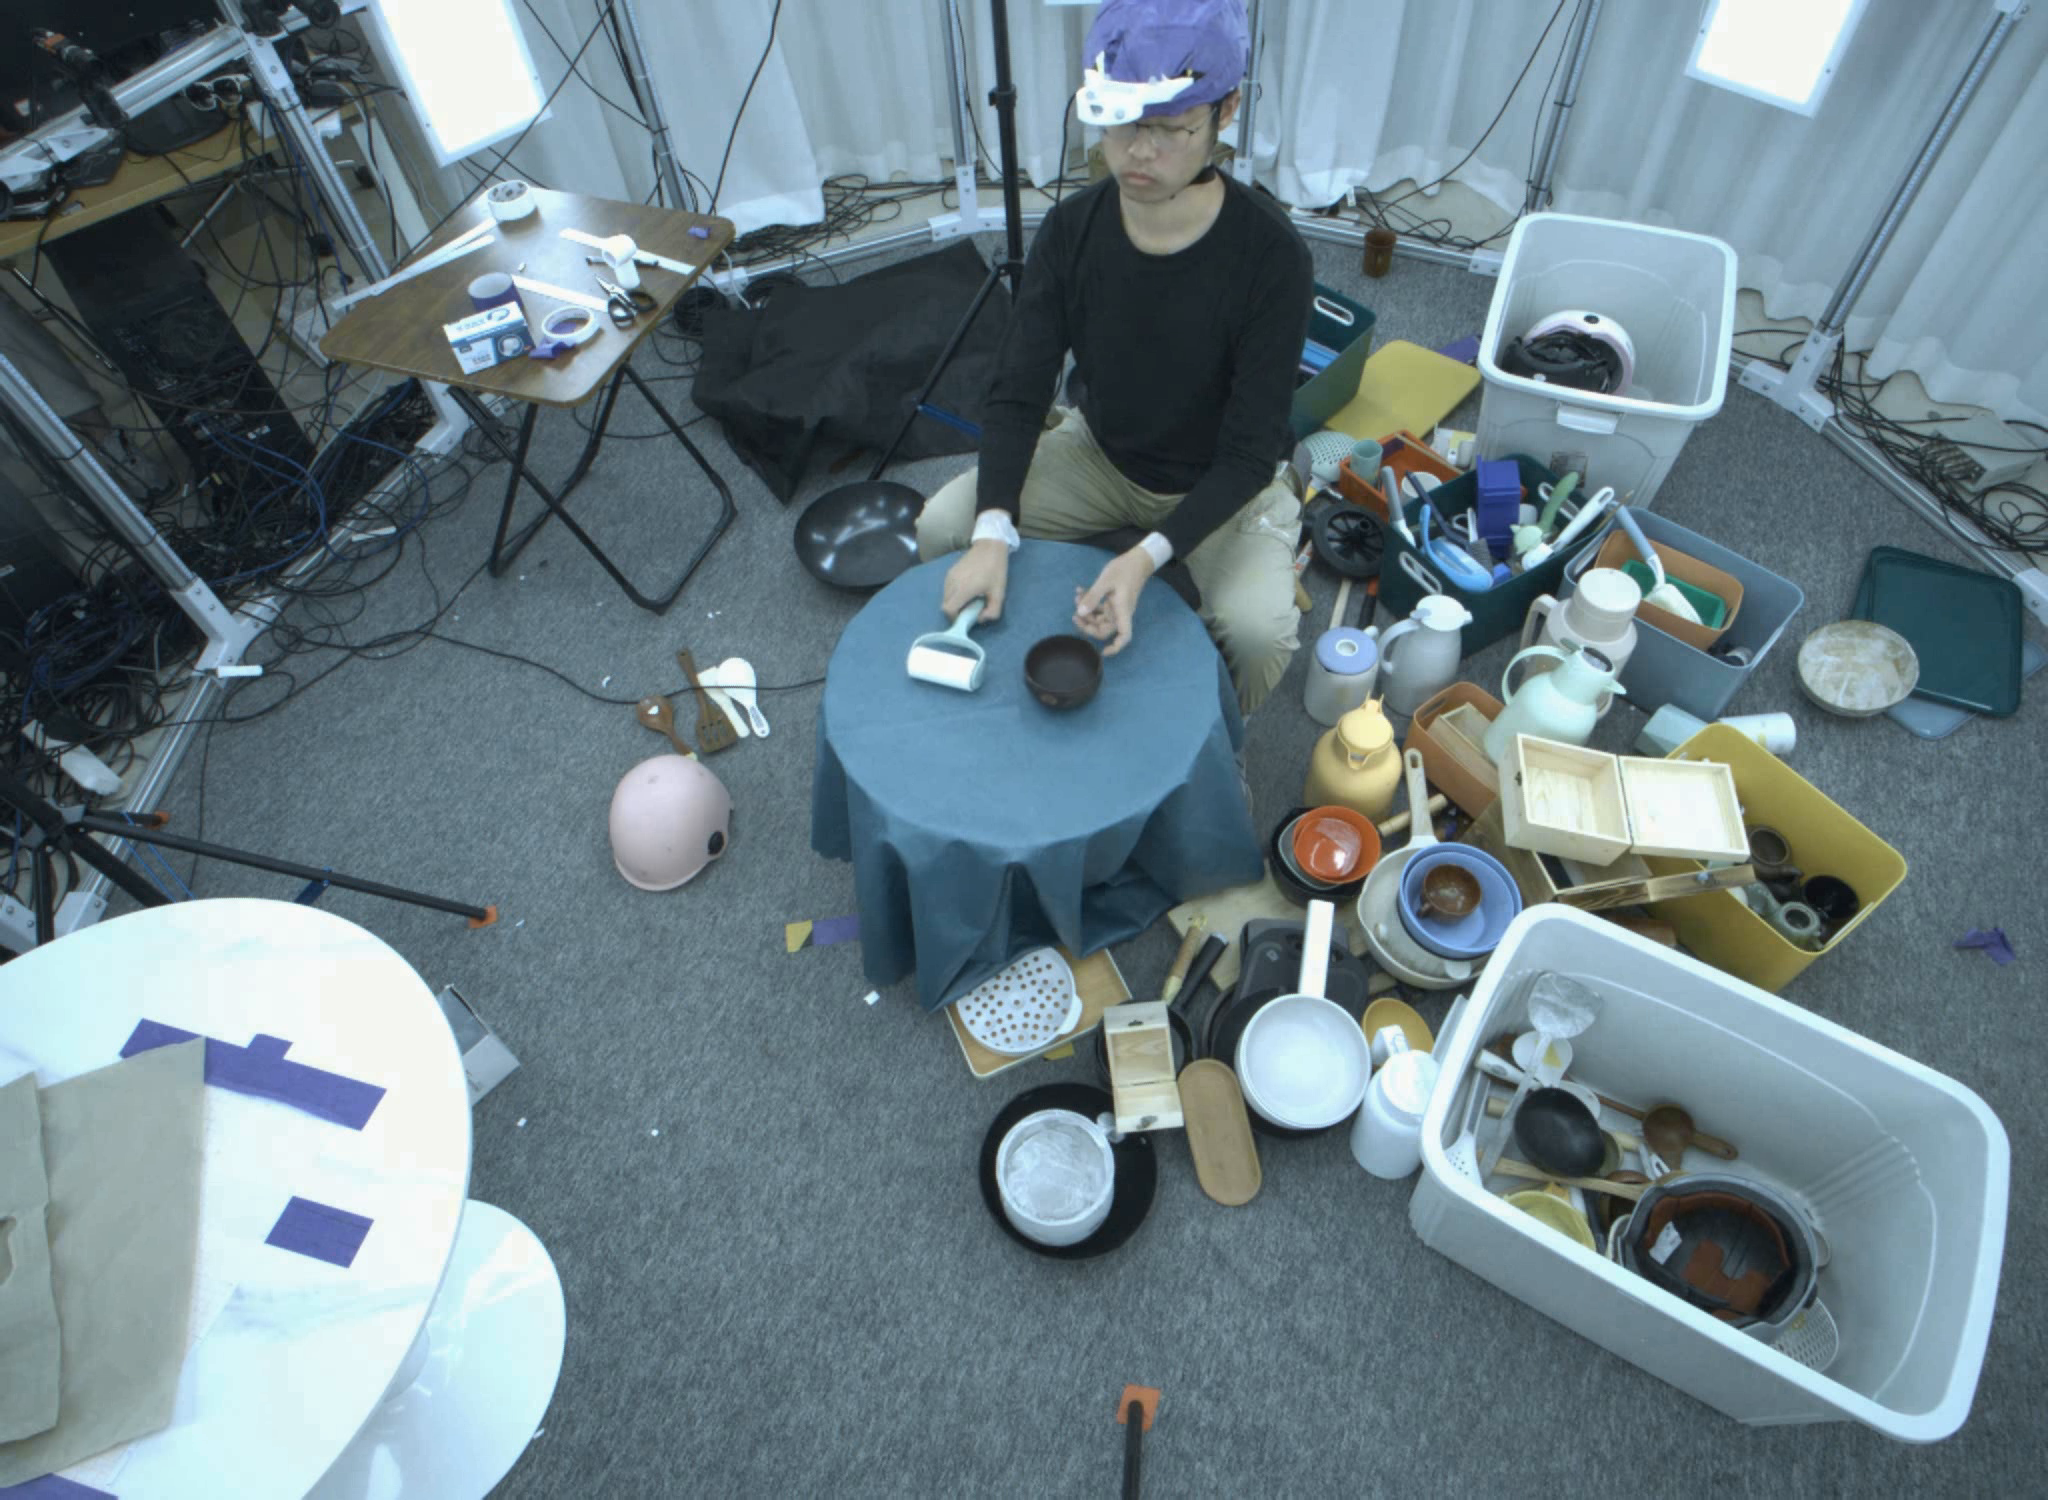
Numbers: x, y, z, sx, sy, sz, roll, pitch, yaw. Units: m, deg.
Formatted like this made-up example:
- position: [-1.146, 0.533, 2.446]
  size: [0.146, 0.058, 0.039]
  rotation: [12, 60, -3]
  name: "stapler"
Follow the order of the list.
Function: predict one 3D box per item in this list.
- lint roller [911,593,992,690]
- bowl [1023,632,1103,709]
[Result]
- position: [-0.088, -0.179, 1.886]
  size: [0.115, 0.049, 0.197]
  rotation: [14, 57, 13]
  name: "lint roller"
- position: [0.058, -0.109, 1.819]
  size: [0.118, 0.070, 0.117]
  rotation: [-1, 54, 3]
  name: "bowl"
